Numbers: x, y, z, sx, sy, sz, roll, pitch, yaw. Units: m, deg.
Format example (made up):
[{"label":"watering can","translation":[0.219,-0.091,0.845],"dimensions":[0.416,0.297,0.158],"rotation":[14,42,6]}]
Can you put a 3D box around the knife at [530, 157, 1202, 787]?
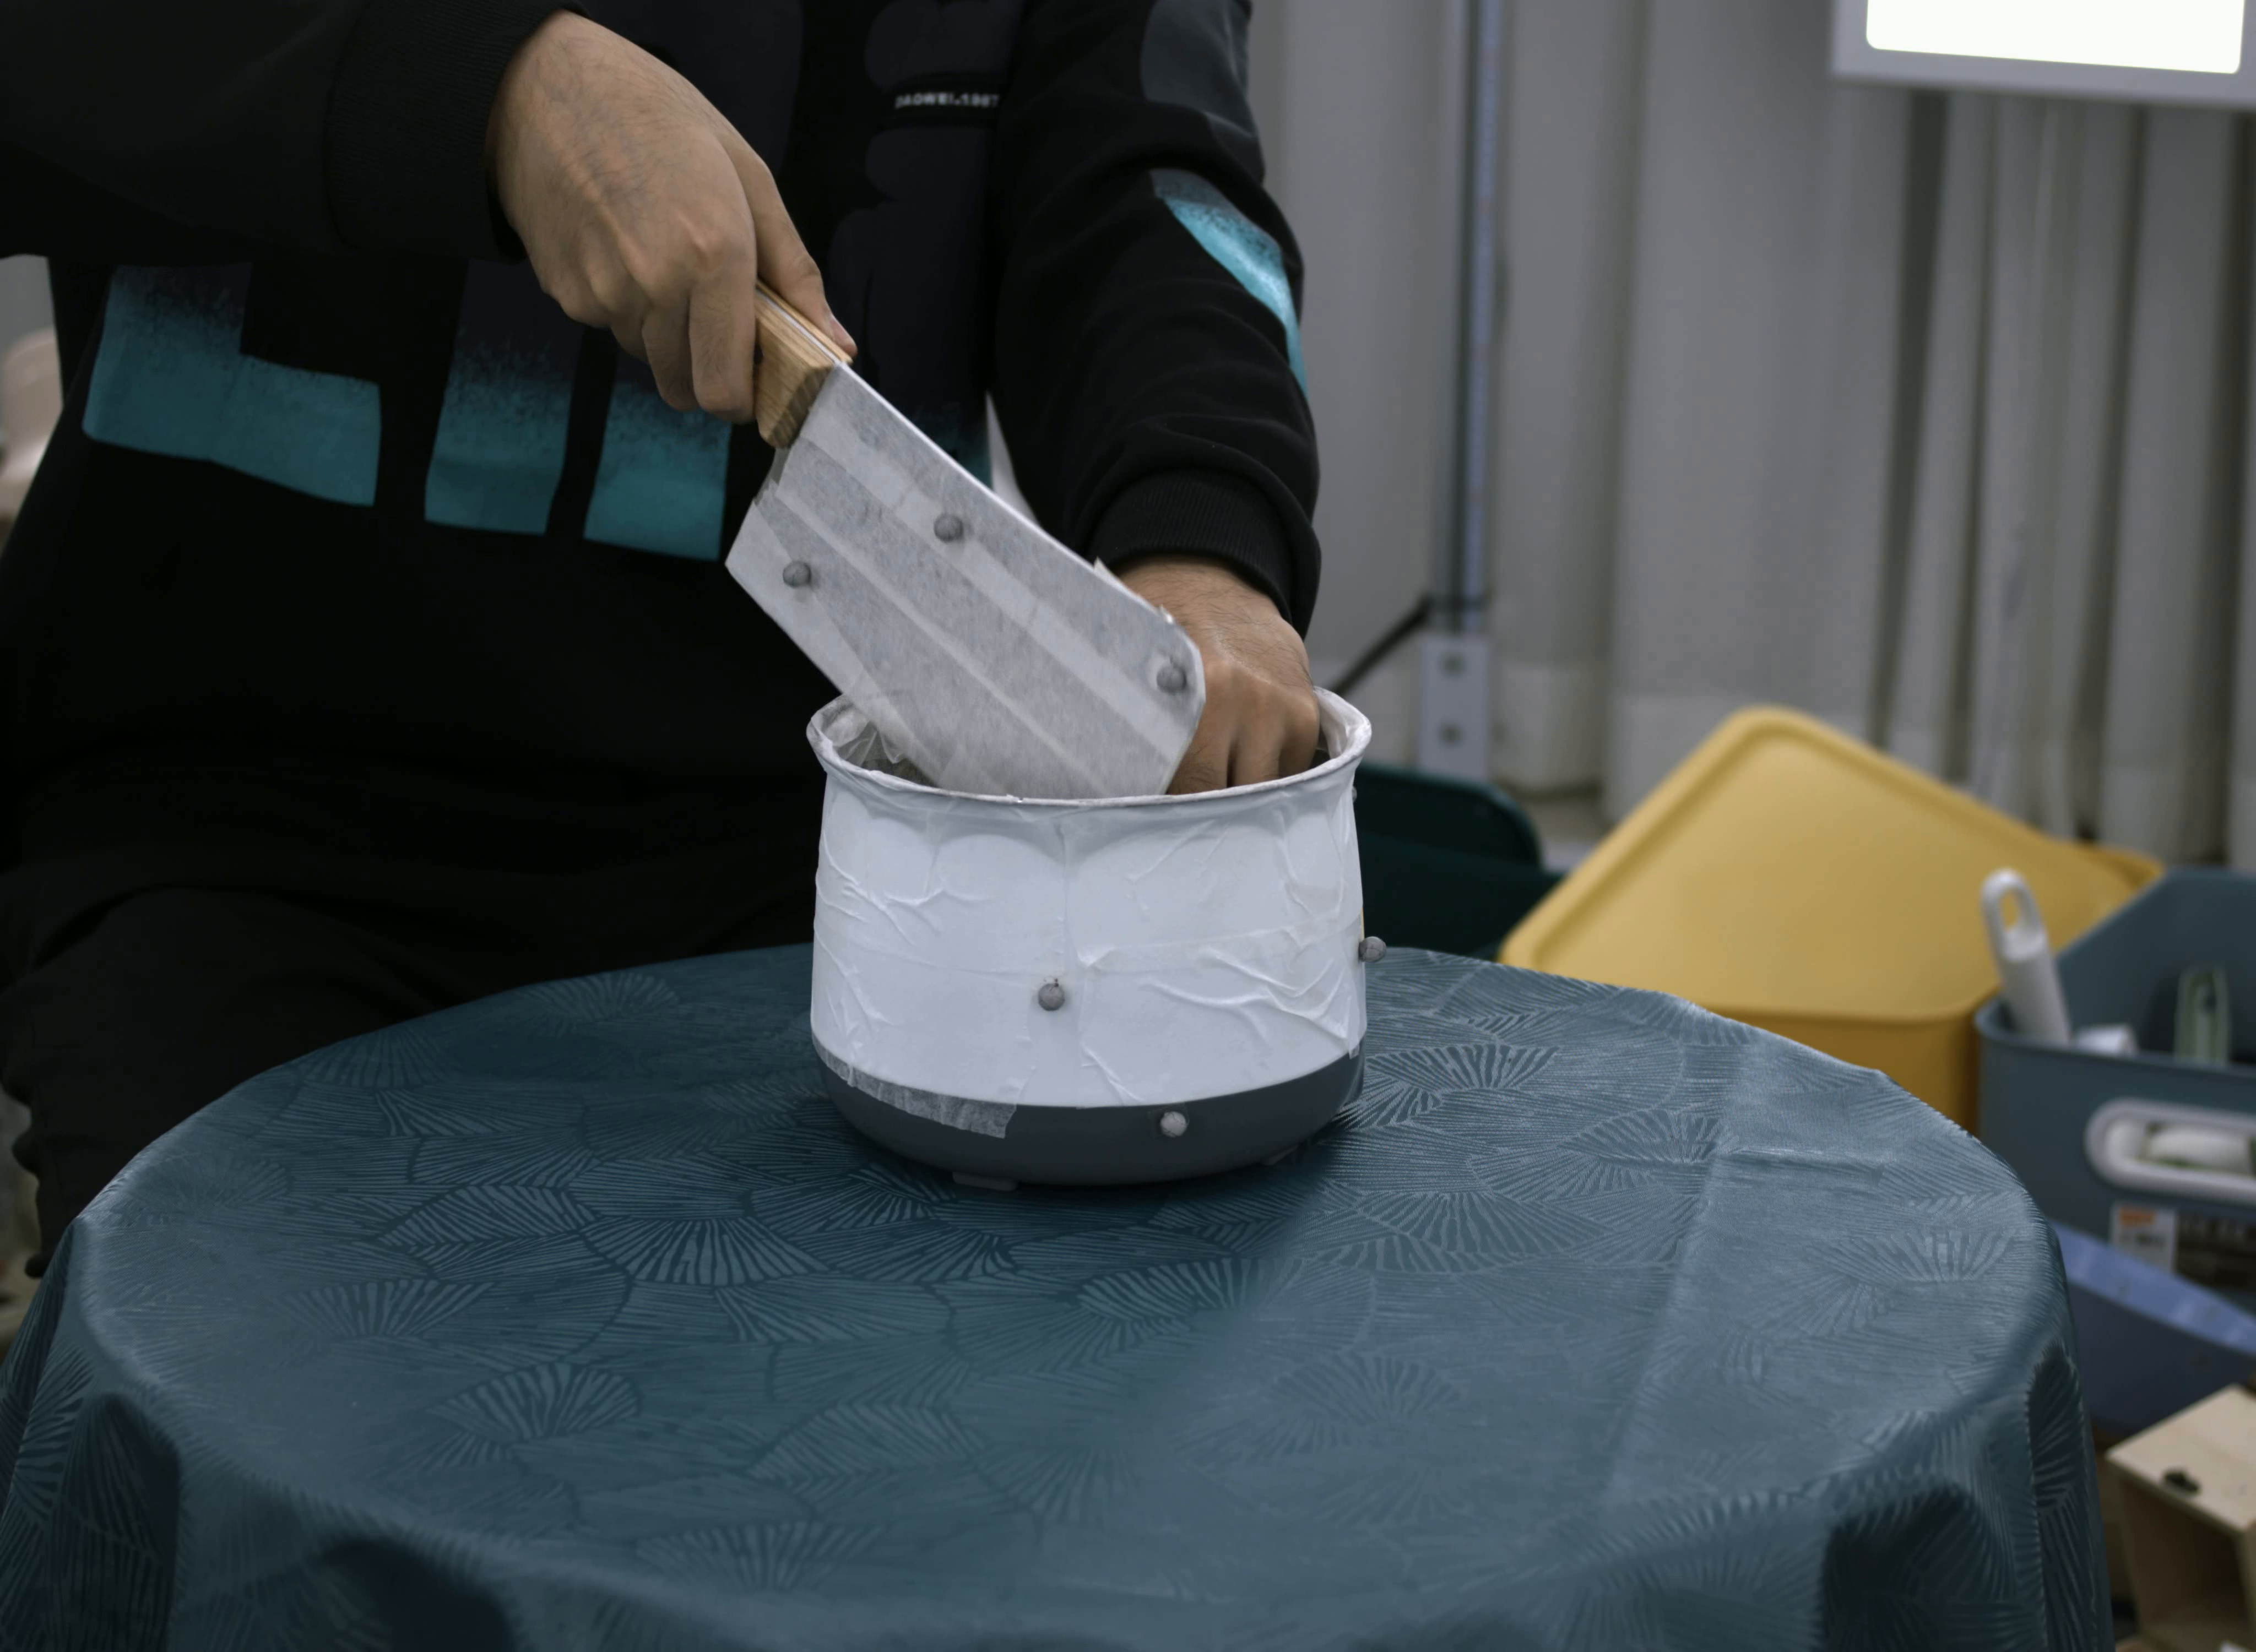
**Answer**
[{"label":"knife","translation":[-0.087,-0.104,1.647],"dimensions":[0.312,0.114,0.022],"rotation":[47,33,22]}]

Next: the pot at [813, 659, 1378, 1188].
[{"label":"pot","translation":[-0.020,0.021,1.688],"dimensions":[0.179,0.138,0.231],"rotation":[-4,18,-19]}]
